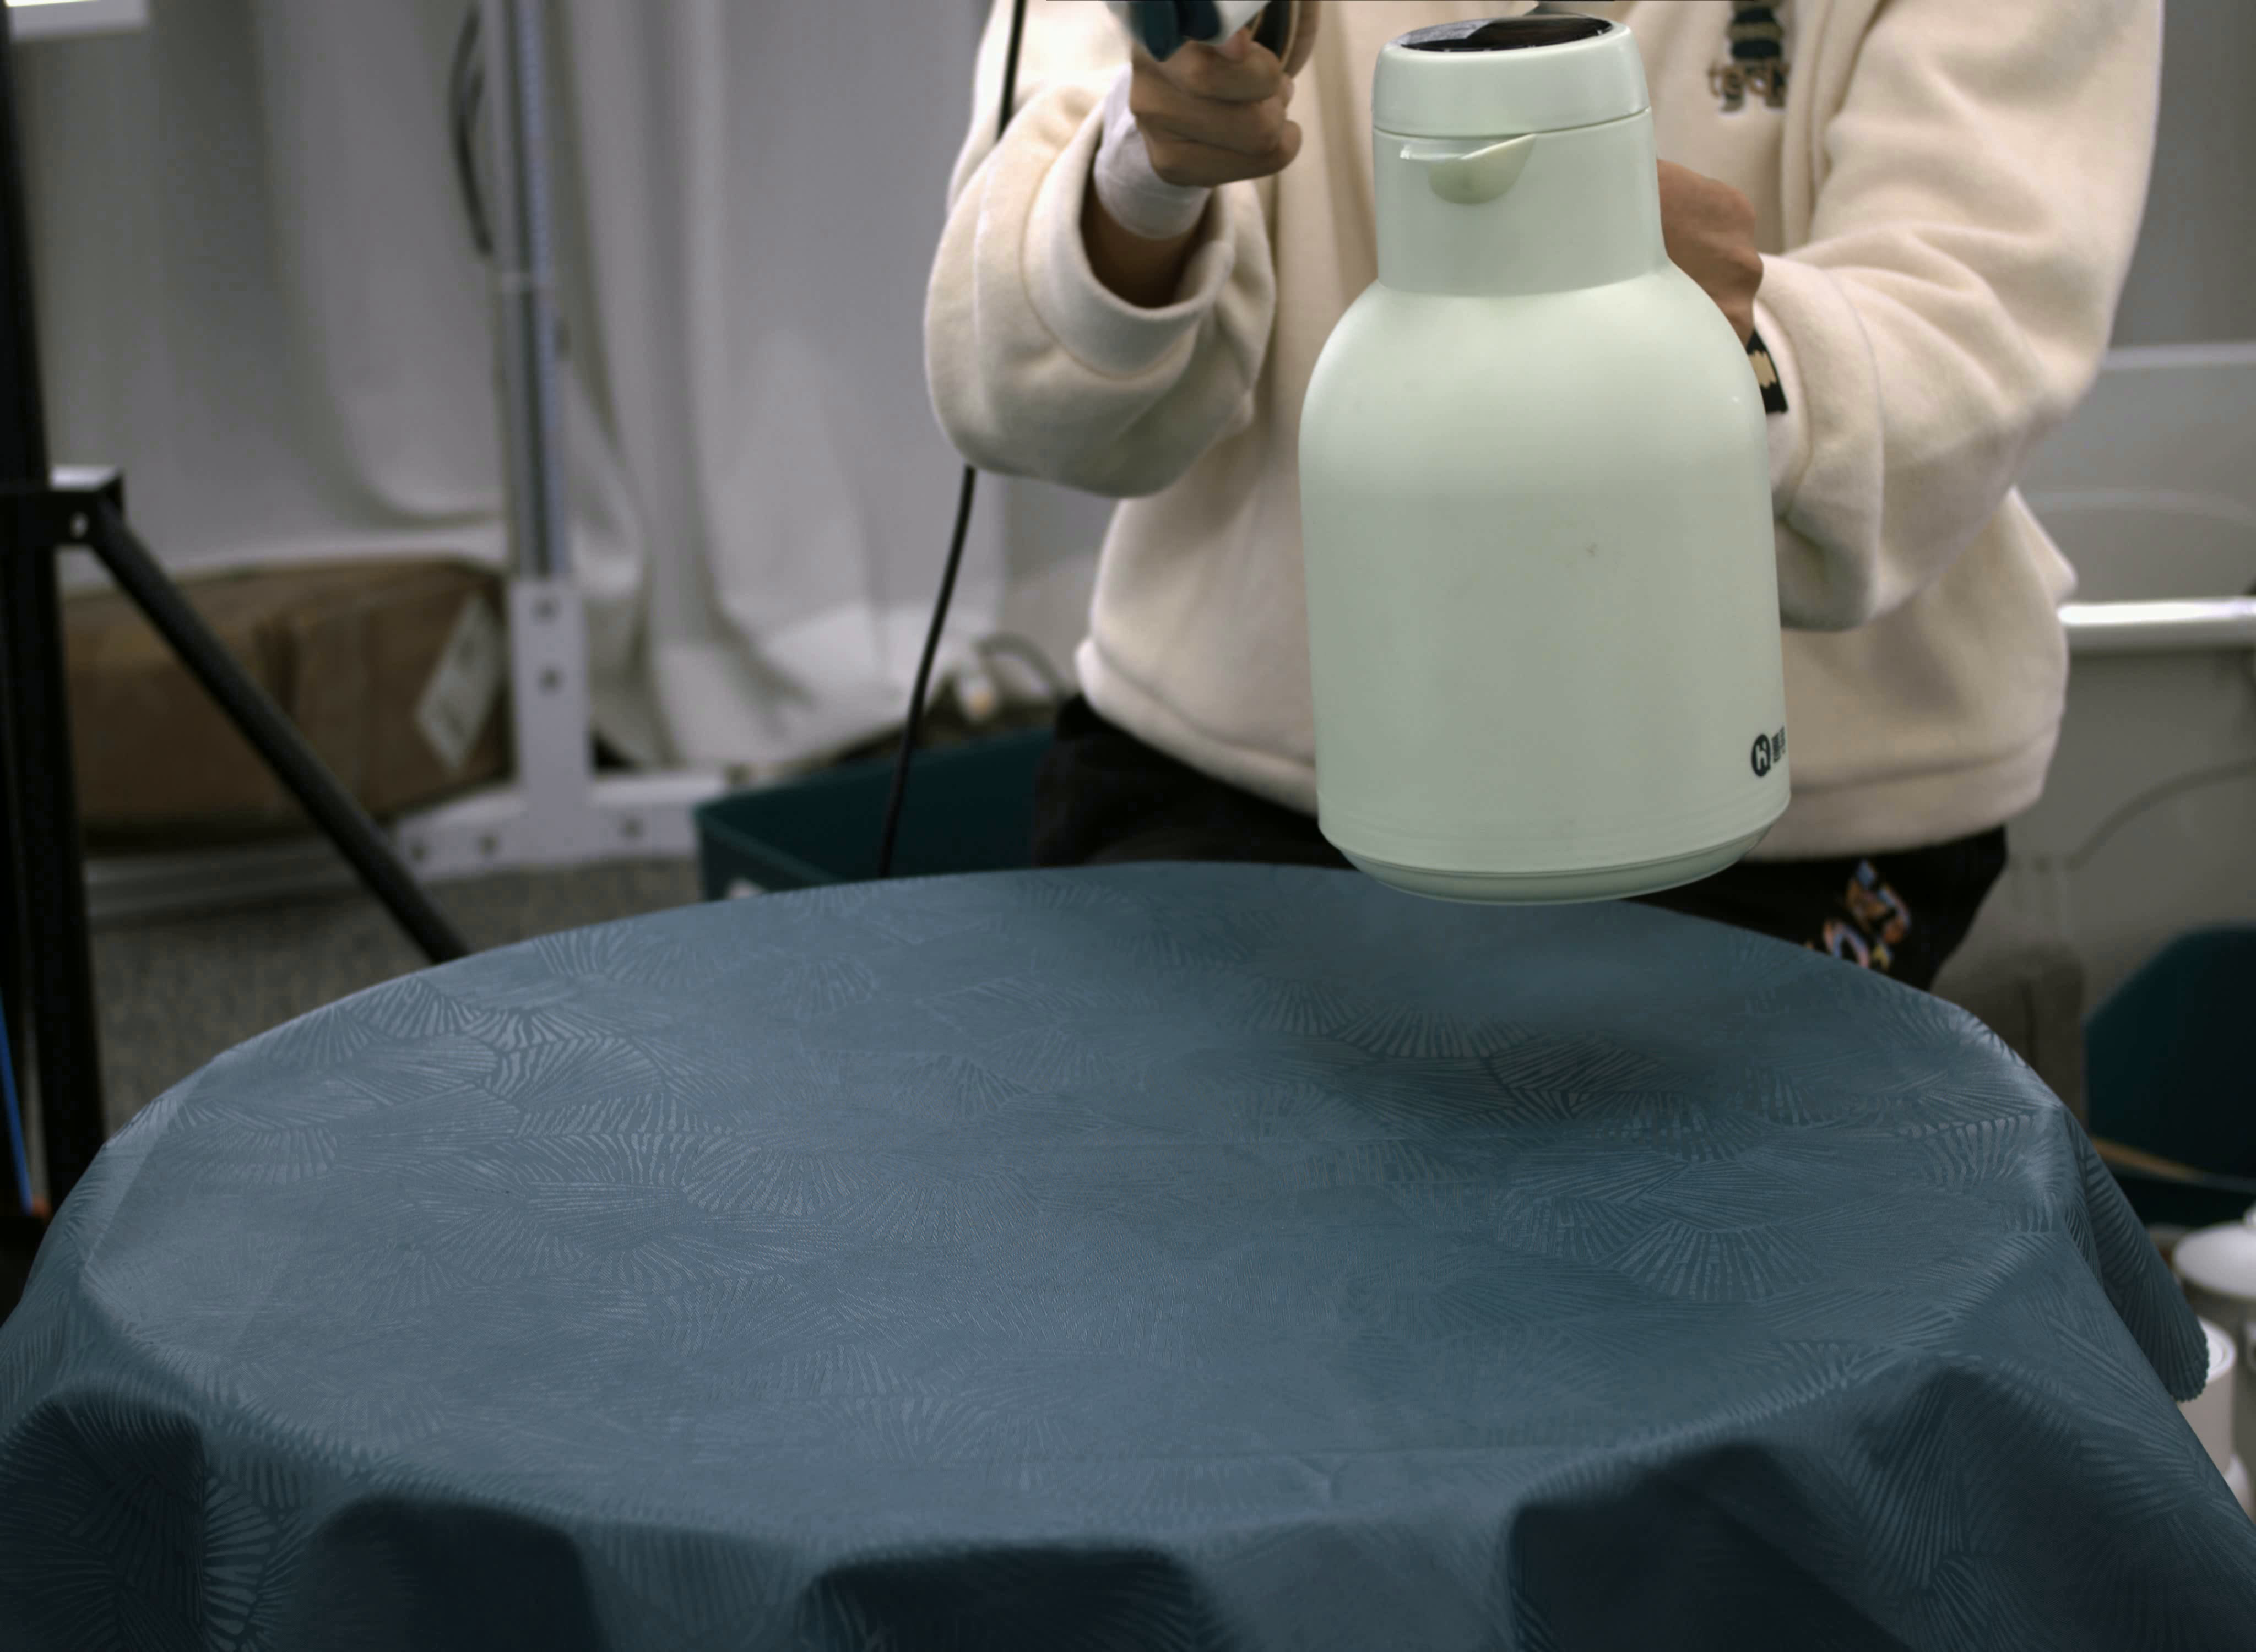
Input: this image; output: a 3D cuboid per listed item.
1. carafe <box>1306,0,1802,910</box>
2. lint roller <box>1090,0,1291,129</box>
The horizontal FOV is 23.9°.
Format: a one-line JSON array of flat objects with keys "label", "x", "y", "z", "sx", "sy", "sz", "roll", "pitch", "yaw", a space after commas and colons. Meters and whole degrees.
[{"label": "carafe", "x": 0.129, "y": -0.115, "z": 1.607, "sx": 0.146, "sy": 0.257, "sz": 0.184, "roll": 0, "pitch": 12, "yaw": 25}, {"label": "lint roller", "x": 0.034, "y": -0.269, "z": 1.666, "sx": 0.133, "sy": 0.048, "sz": 0.180, "roll": -43, "pitch": -4, "yaw": -15}]
